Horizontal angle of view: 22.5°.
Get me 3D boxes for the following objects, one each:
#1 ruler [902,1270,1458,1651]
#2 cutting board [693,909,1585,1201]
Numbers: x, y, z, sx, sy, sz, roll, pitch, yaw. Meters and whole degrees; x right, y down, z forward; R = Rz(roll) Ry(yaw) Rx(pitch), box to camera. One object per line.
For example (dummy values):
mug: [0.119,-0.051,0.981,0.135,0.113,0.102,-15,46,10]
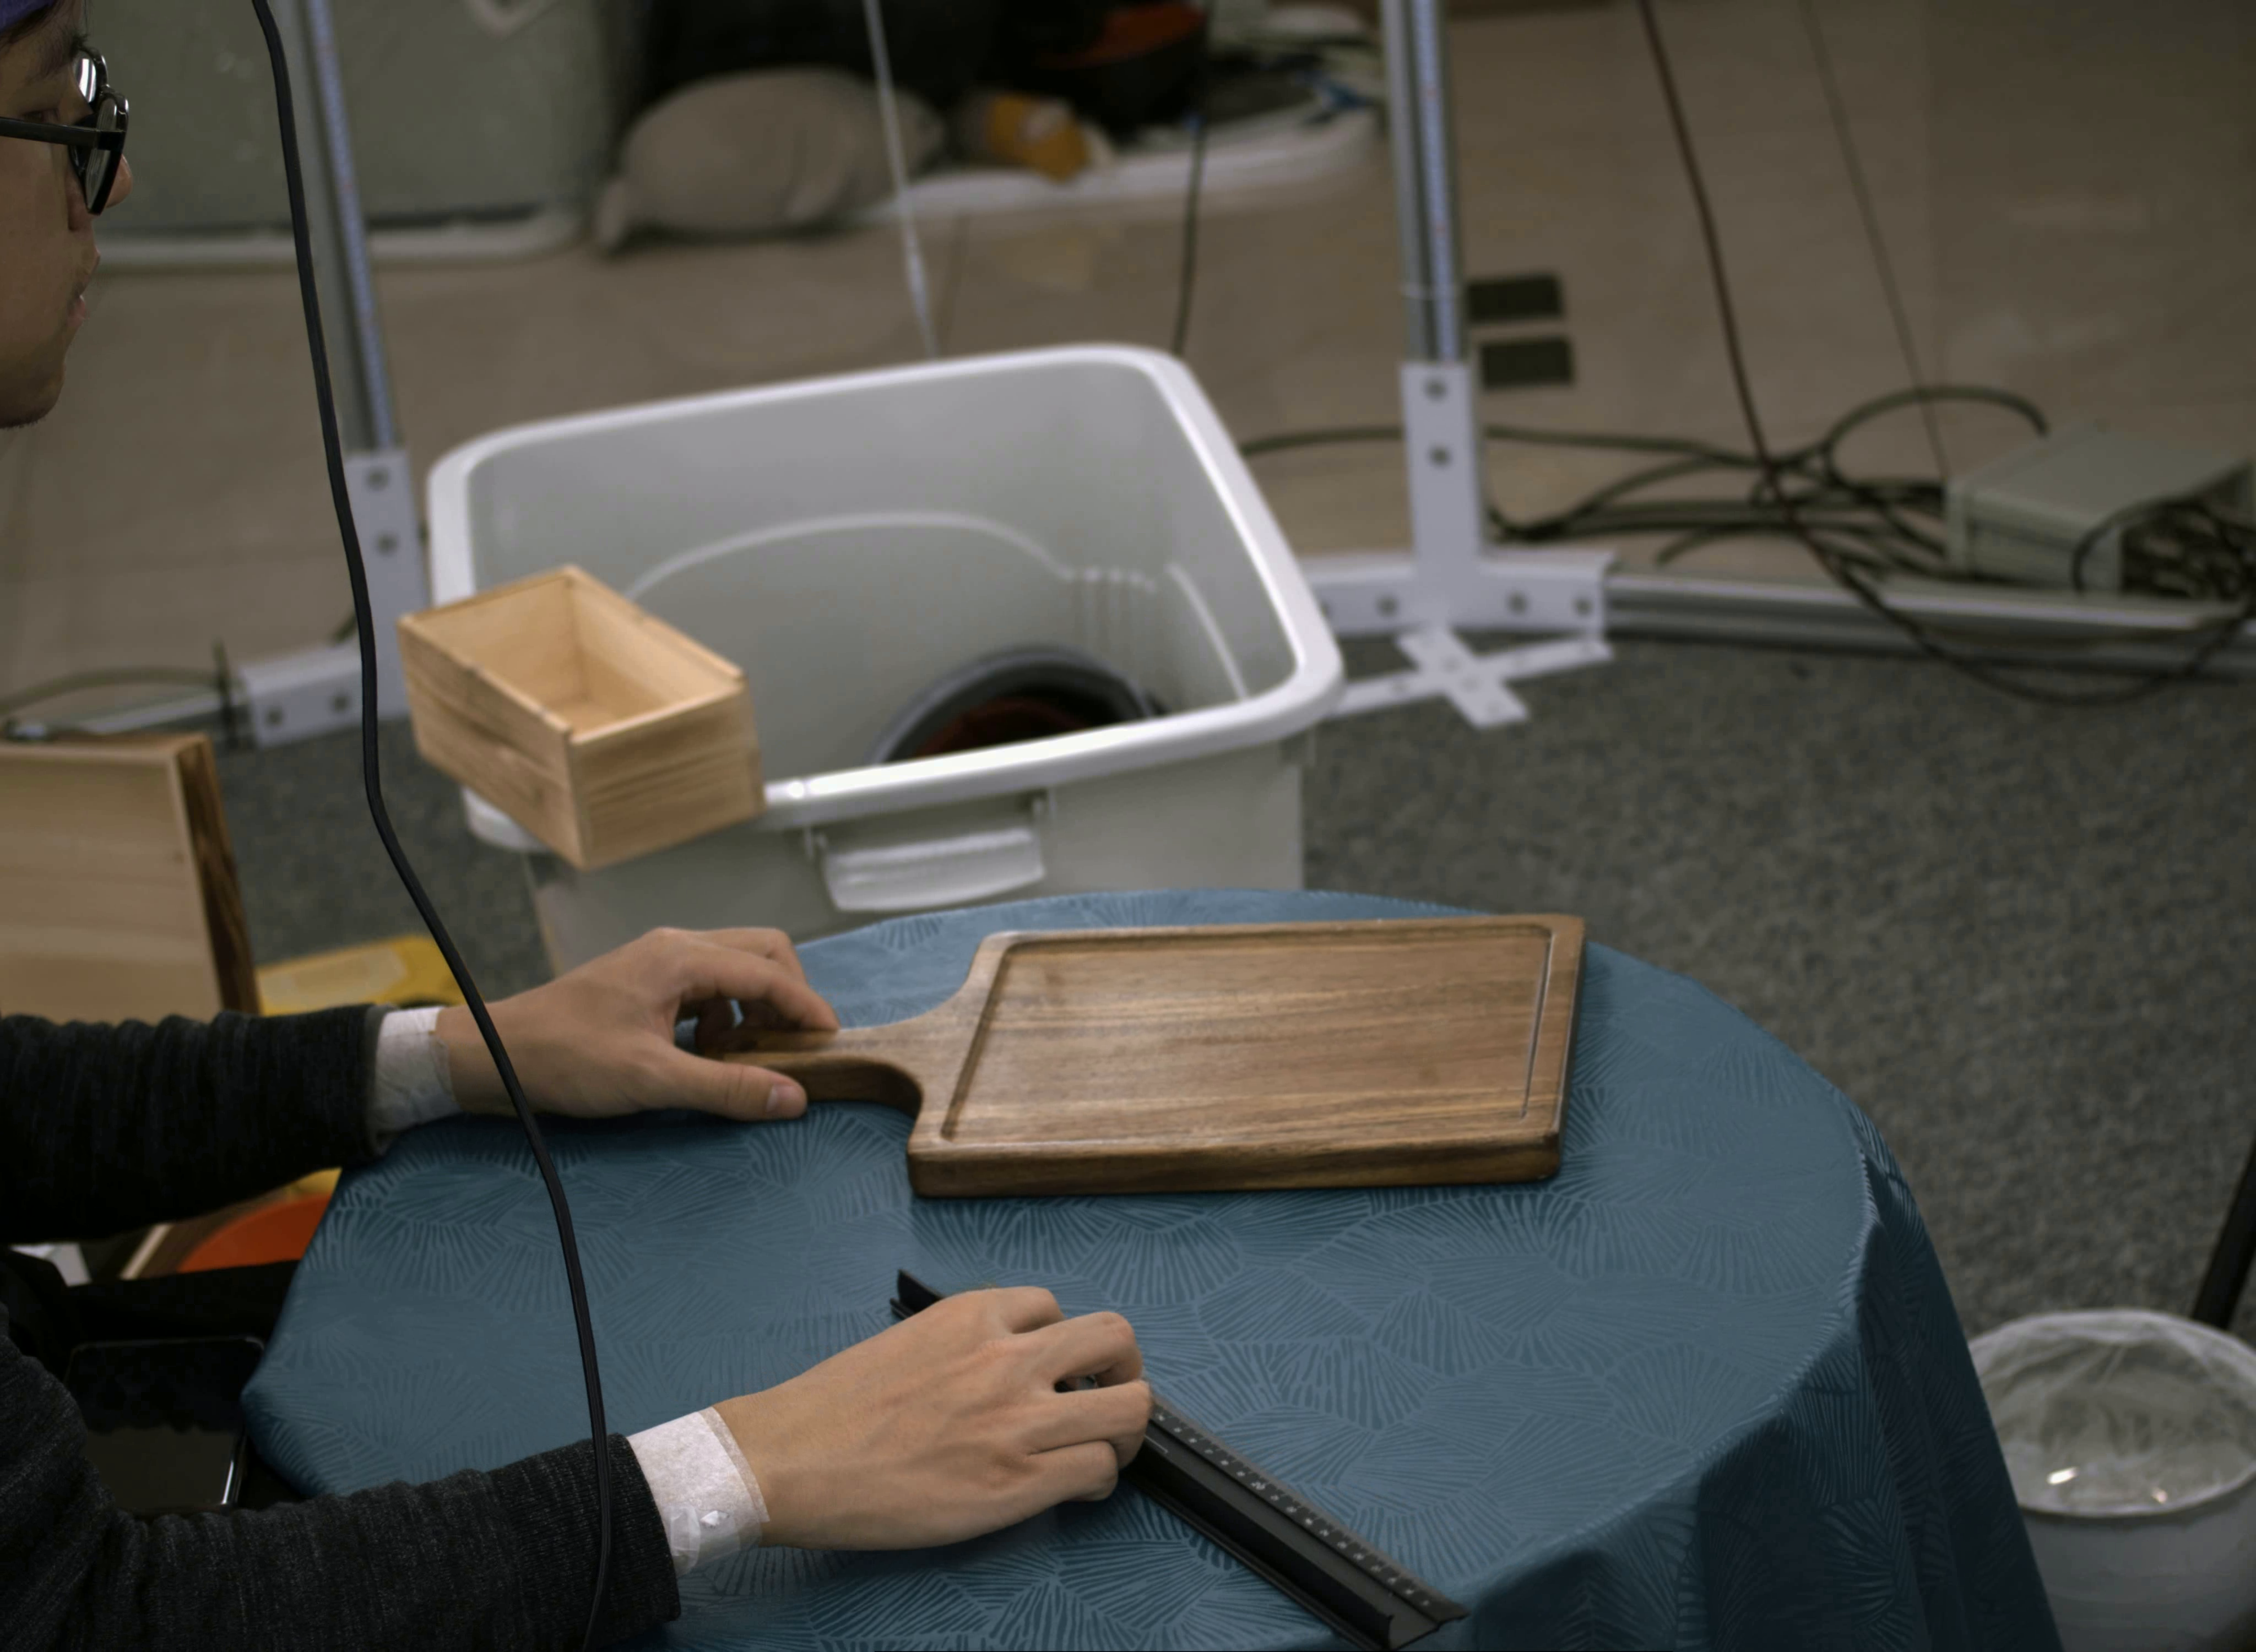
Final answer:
ruler: [0.013,0.212,1.969,0.039,0.017,0.309,-19,28,-27]
cutting board: [0.002,0.090,2.228,0.351,0.023,0.198,-3,25,9]
